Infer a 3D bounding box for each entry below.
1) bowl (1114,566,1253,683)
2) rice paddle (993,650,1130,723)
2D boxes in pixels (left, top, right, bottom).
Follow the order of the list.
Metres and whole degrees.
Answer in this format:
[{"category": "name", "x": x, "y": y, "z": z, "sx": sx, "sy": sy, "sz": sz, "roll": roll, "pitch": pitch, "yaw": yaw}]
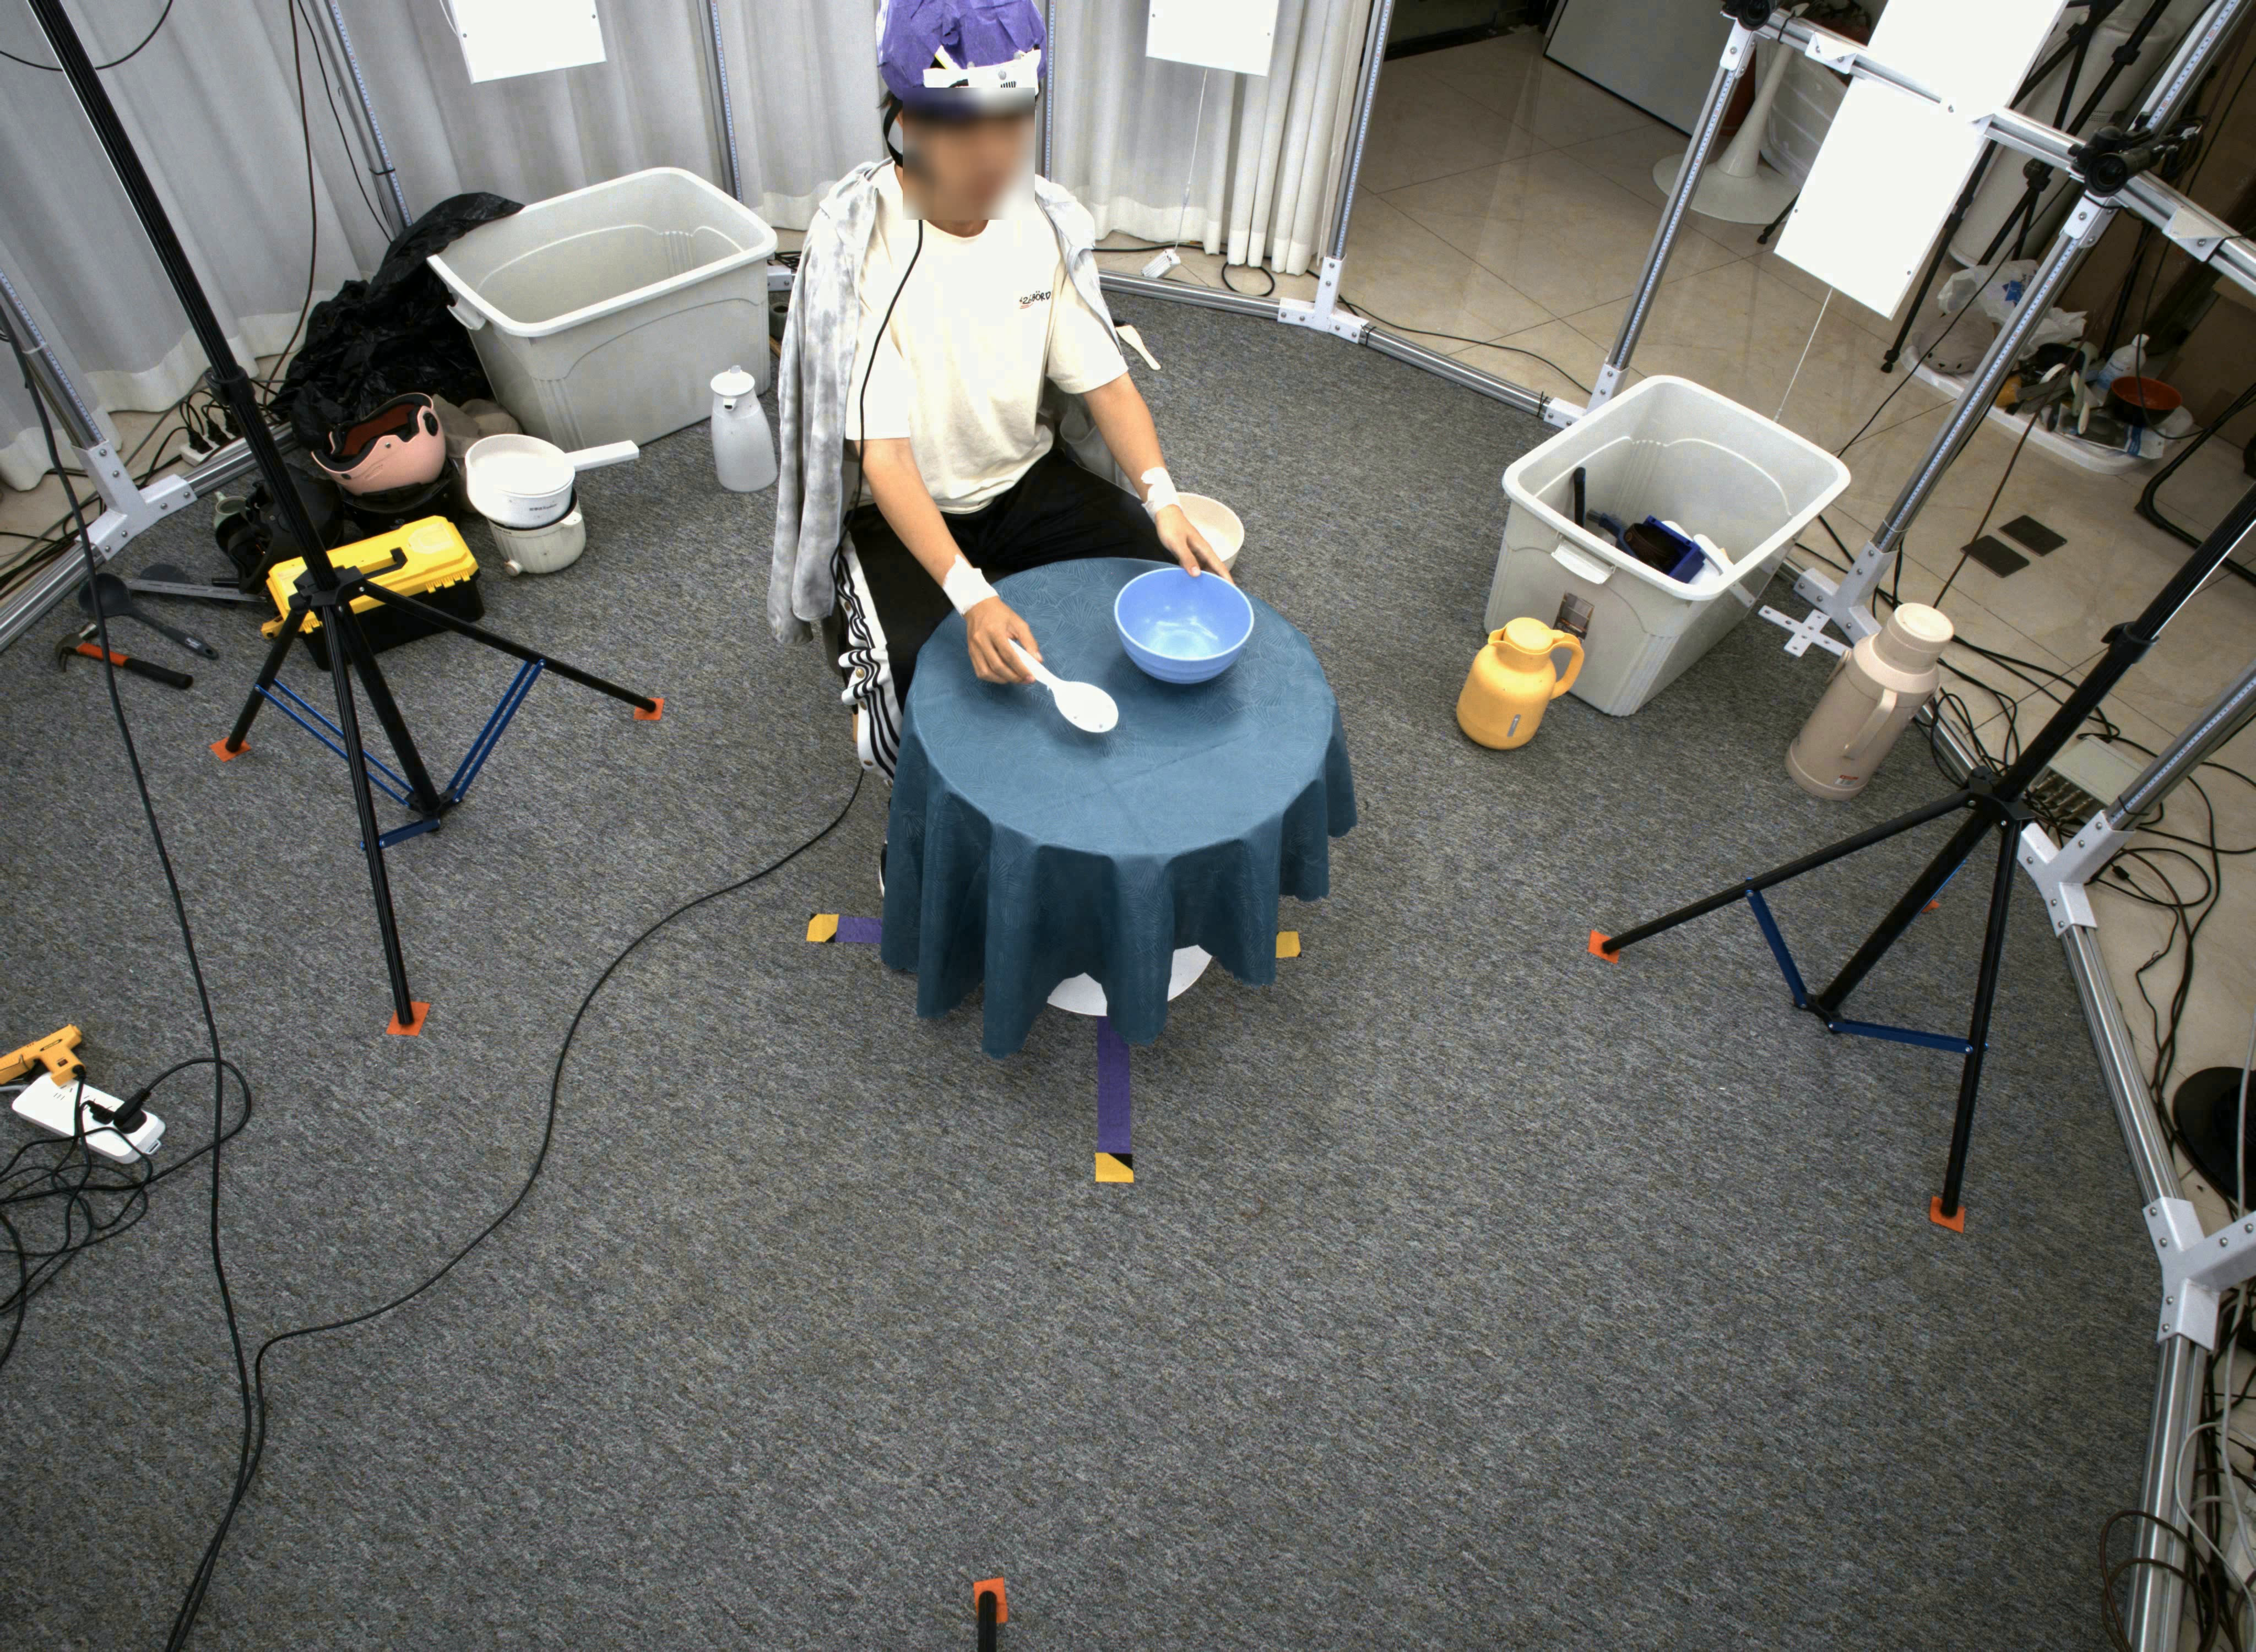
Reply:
[{"category": "bowl", "x": 0.075, "y": -0.273, "z": 1.841, "sx": 0.196, "sy": 0.093, "sz": 0.201, "roll": 2, "pitch": 50, "yaw": -3}, {"category": "rice paddle", "x": -0.089, "y": -0.191, "z": 1.759, "sx": 0.206, "sy": 0.029, "sz": 0.070, "roll": 25, "pitch": 45, "yaw": 14}]
